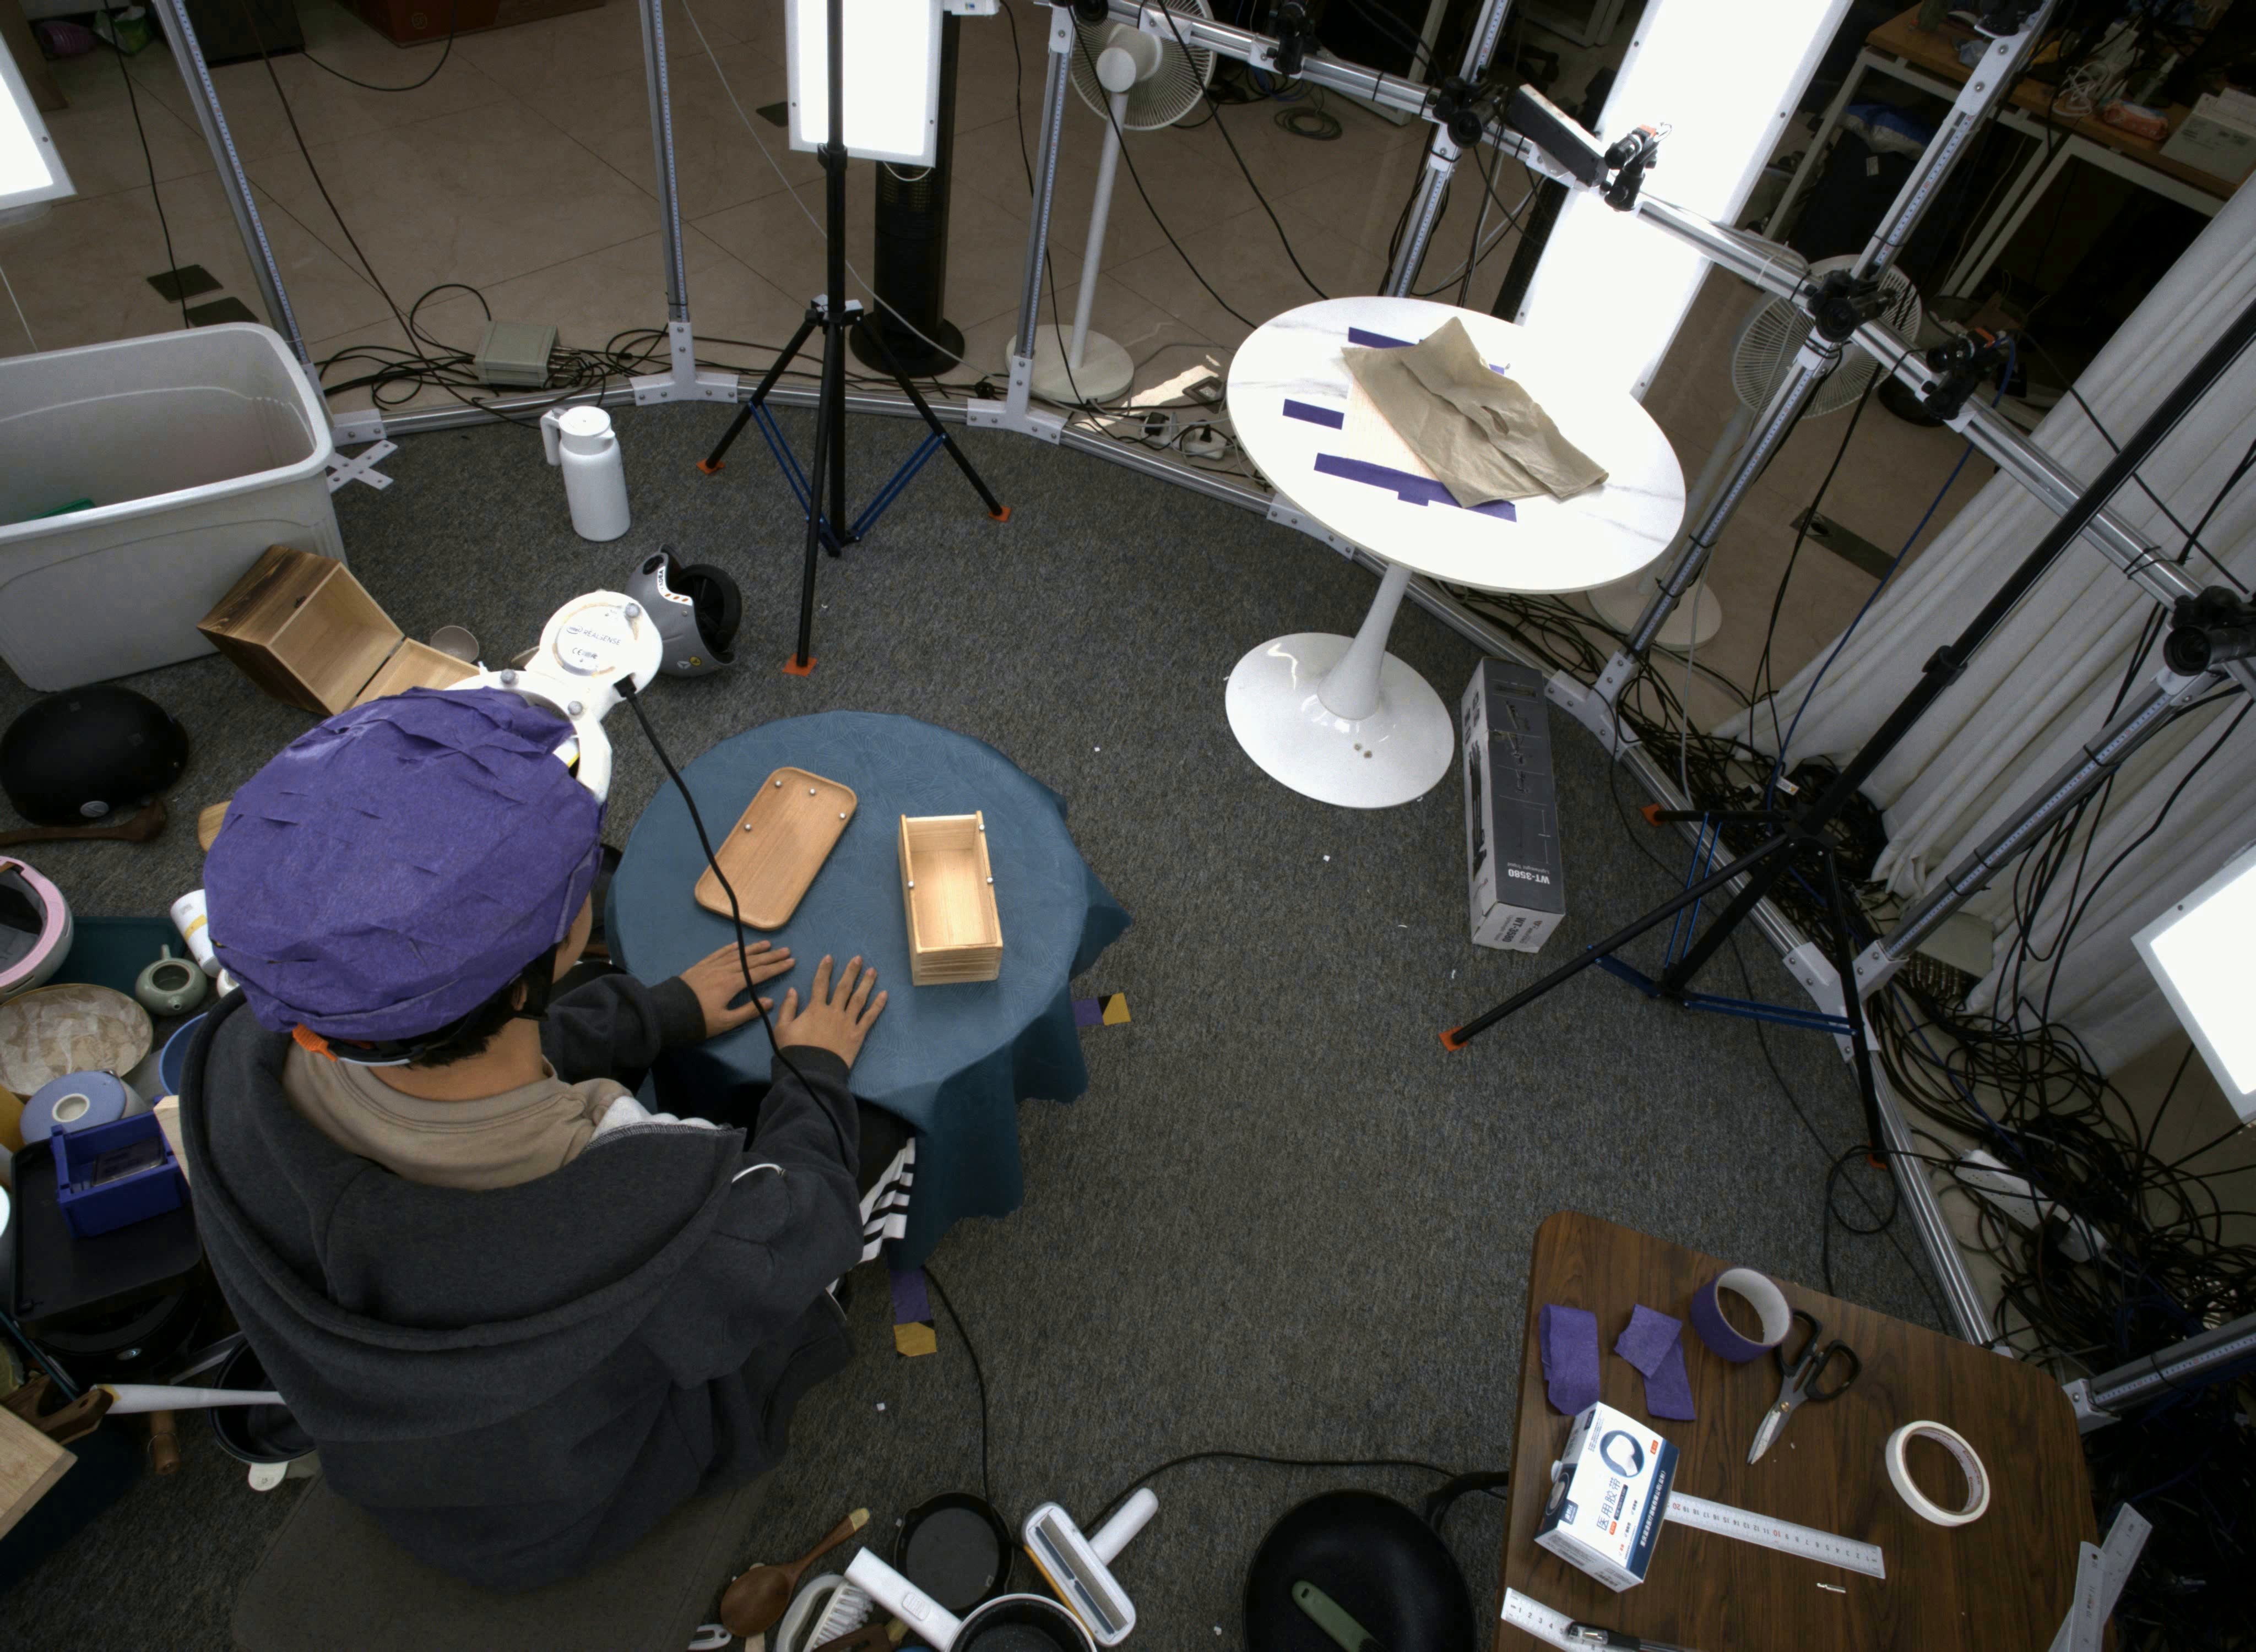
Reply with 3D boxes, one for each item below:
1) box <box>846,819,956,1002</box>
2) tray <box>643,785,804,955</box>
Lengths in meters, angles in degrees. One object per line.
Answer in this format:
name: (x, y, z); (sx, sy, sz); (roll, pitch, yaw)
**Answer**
box: (-0.288, 0.102, 1.637); (0.108, 0.082, 0.206); (-6, 56, -18)
tray: (-0.515, 0.051, 1.656); (0.129, 0.023, 0.248); (17, 52, 2)
